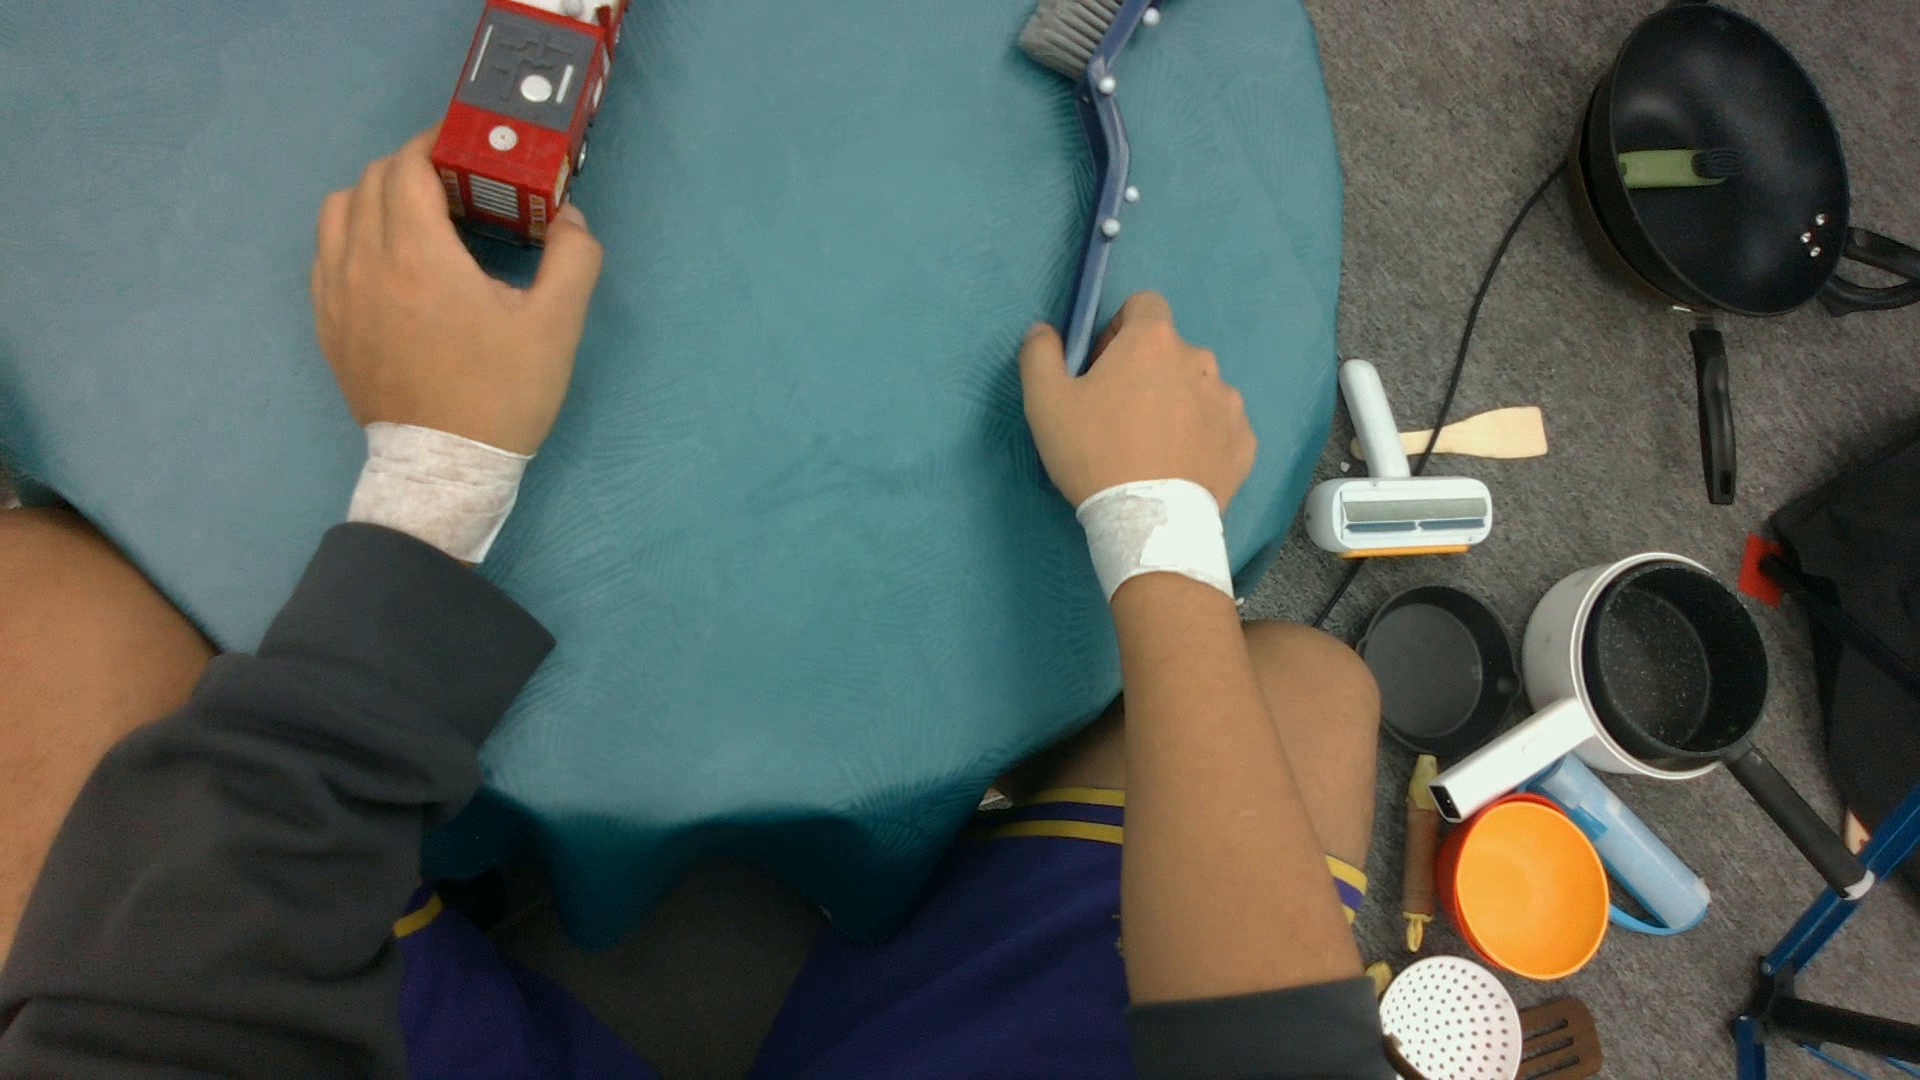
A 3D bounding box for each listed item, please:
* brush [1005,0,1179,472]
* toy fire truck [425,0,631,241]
[{"bbox_3d":[0.068,-0.161,0.644,0.096,0.033,0.273,8,79,-16],"label":"brush"},{"bbox_3d":[-0.169,-0.206,0.559,0.054,0.070,0.168,14,71,-8],"label":"toy fire truck"}]
